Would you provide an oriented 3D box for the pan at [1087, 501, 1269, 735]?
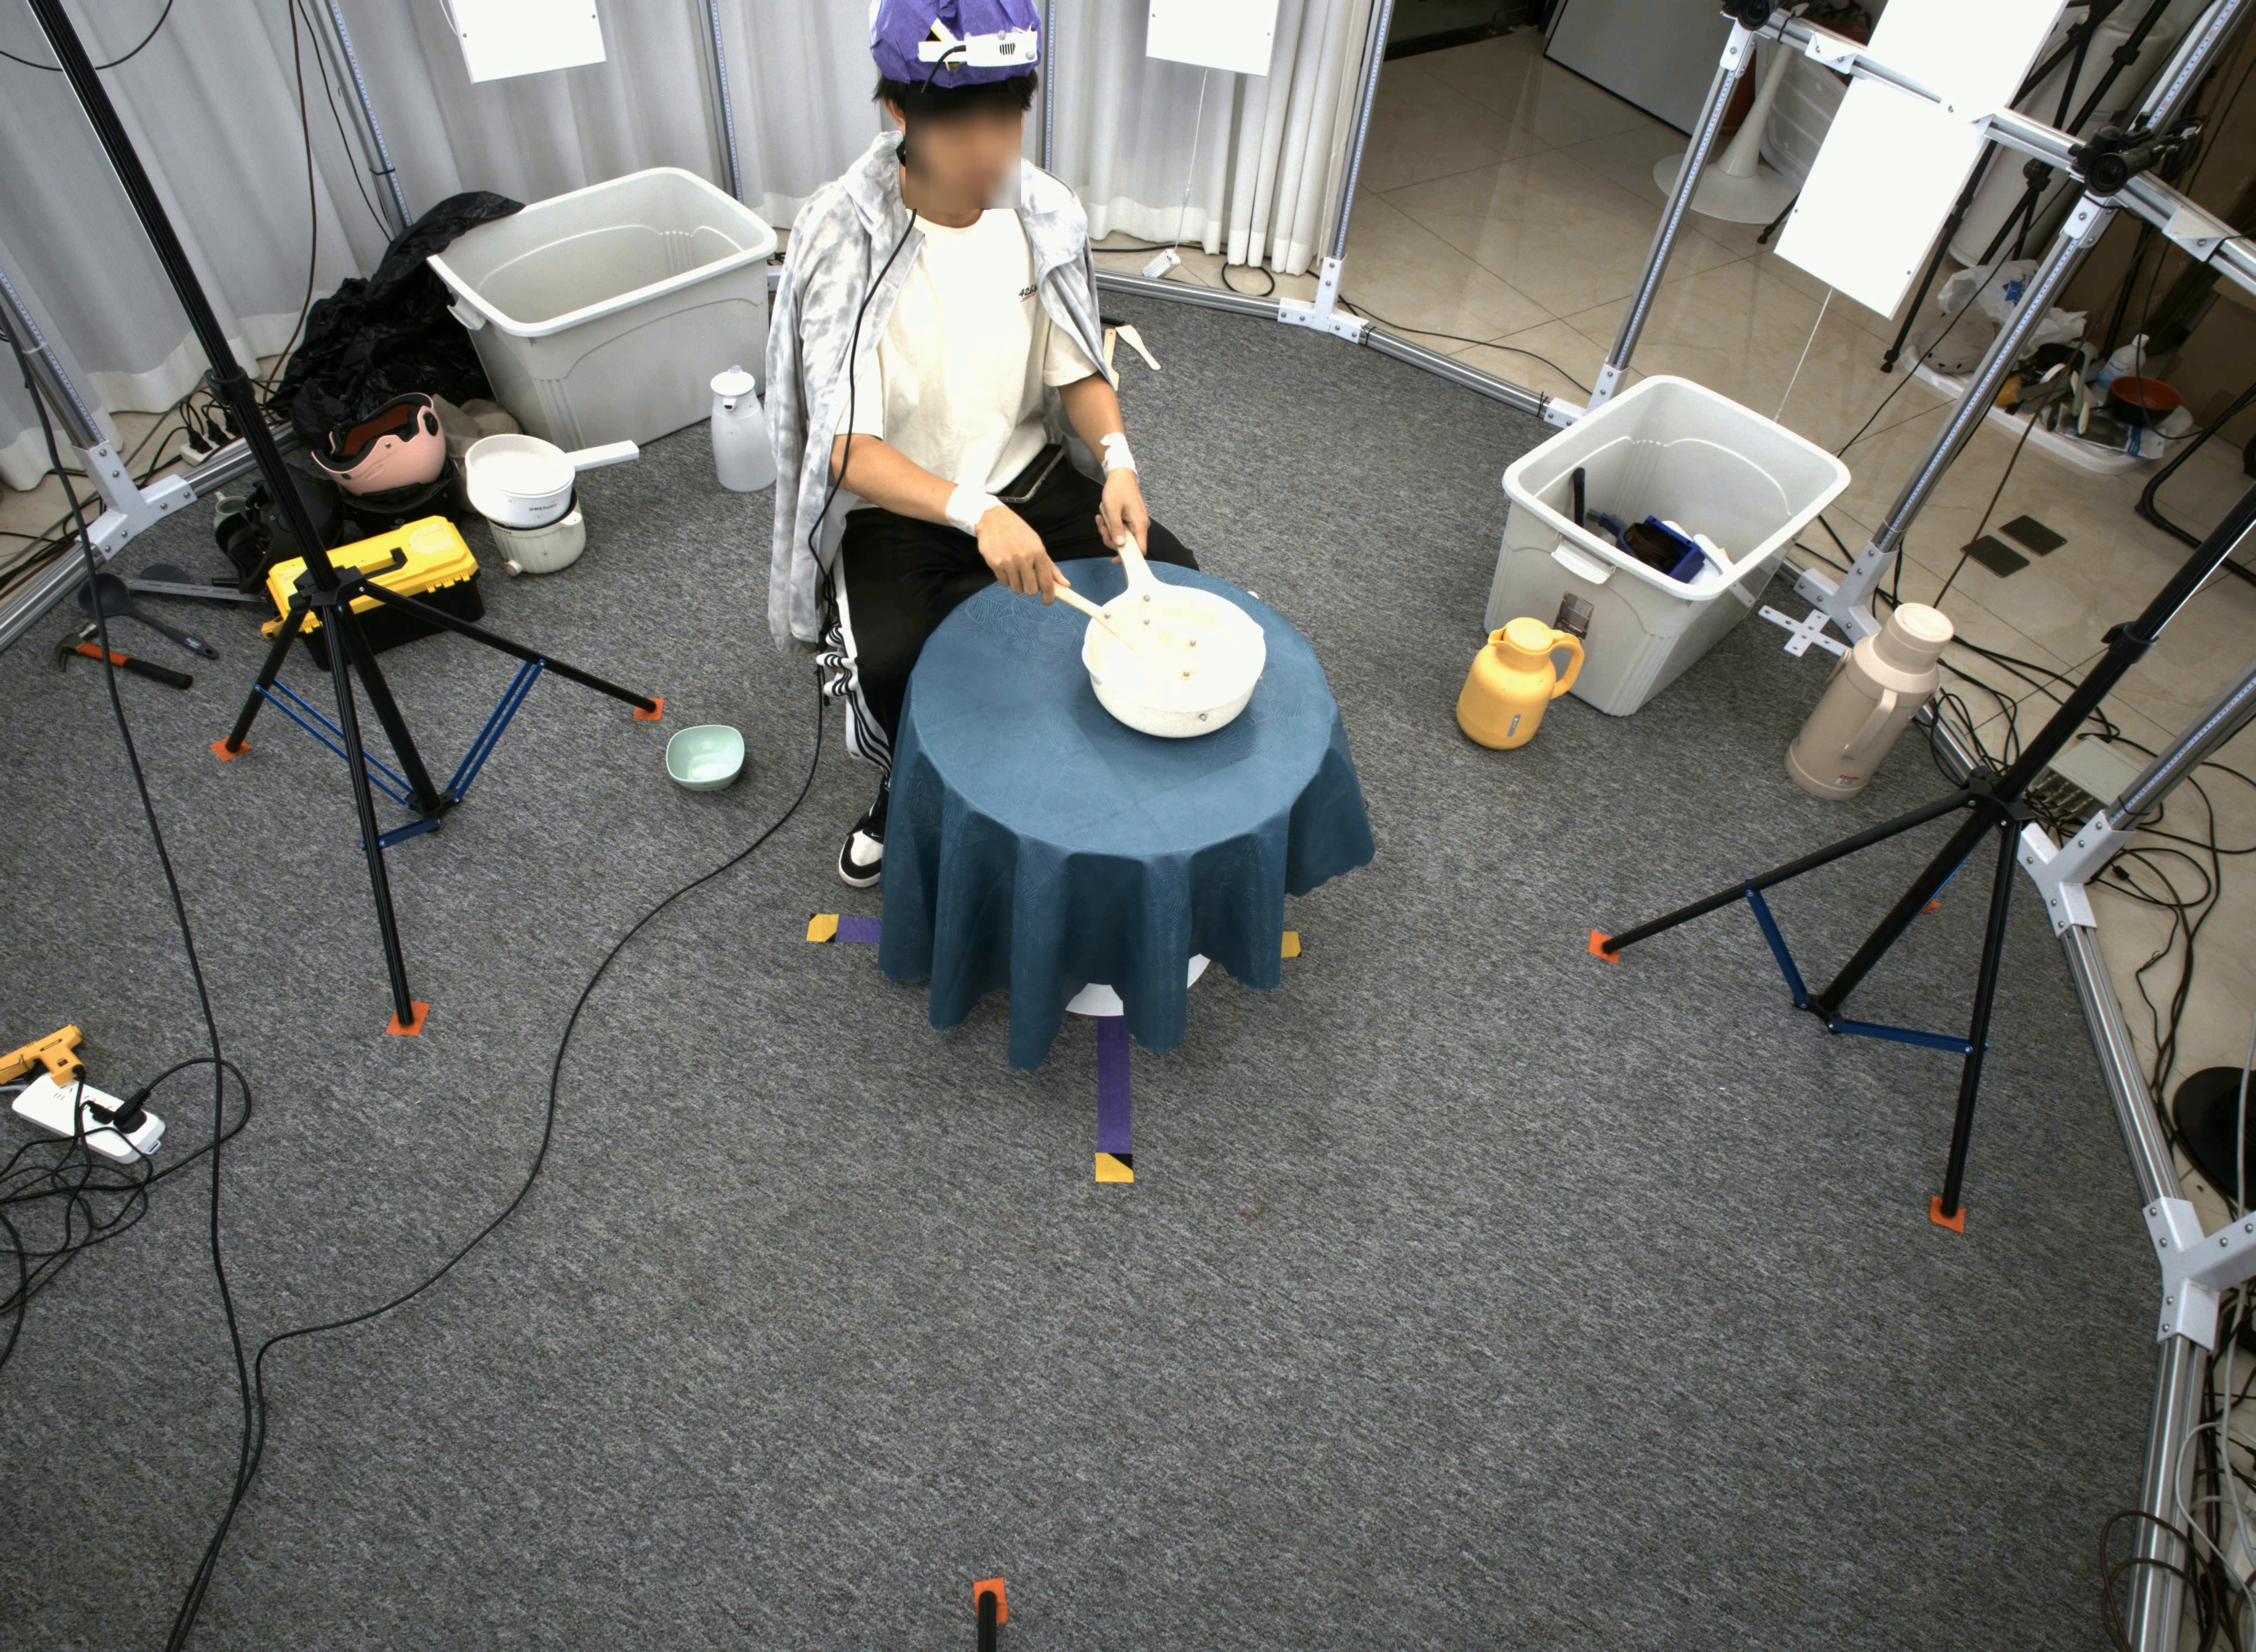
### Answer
[{"bbox_3d":[0.039,-0.302,1.861,0.263,0.099,0.445,-13,51,-13],"label":"pan"}]

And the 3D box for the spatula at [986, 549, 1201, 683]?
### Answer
[{"bbox_3d":[-0.043,-0.296,1.752,0.326,0.016,0.081,27,59,-9],"label":"spatula"}]
